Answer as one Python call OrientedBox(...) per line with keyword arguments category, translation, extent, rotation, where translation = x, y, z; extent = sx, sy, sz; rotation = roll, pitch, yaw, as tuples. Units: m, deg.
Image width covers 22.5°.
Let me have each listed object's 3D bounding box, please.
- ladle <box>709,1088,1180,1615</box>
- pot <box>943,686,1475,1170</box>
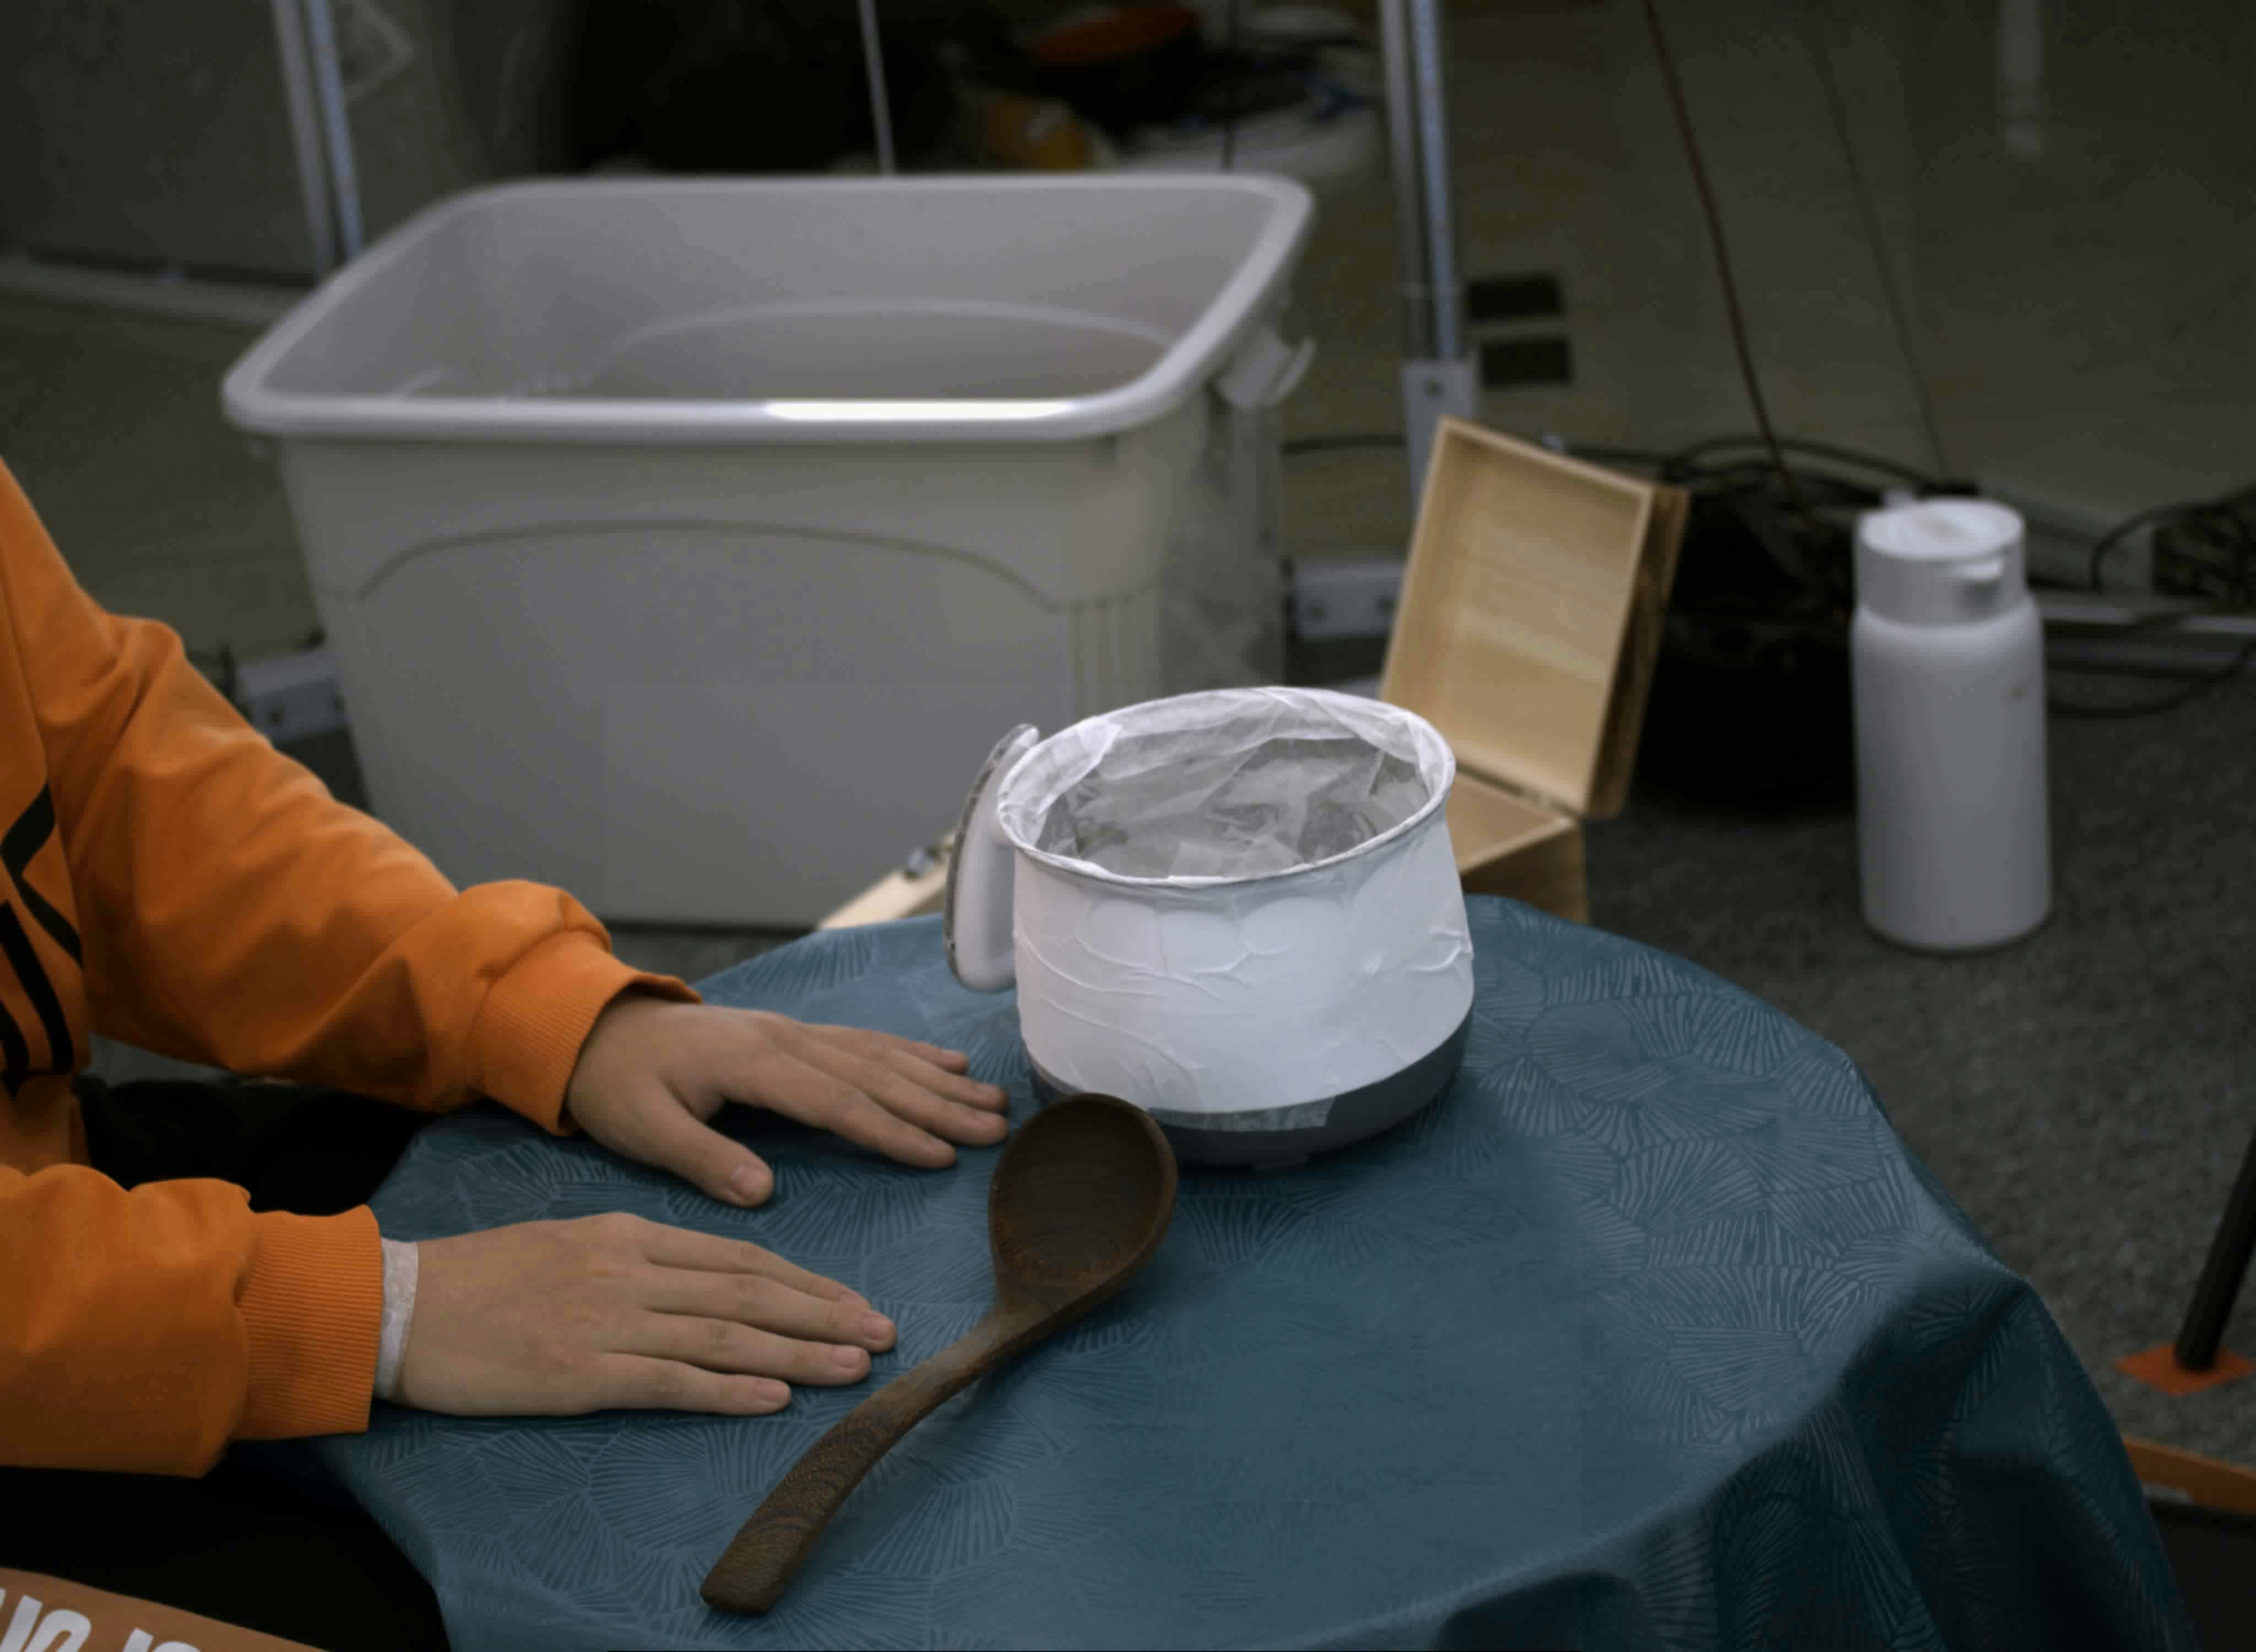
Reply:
OrientedBox(category="ladle", translation=(-0.069, 0.179, 1.996), extent=(0.076, 0.072, 0.271), rotation=(6, 27, 31))
OrientedBox(category="pot", translation=(0.021, 0.035, 2.199), extent=(0.232, 0.139, 0.177), rotation=(13, 31, 35))
